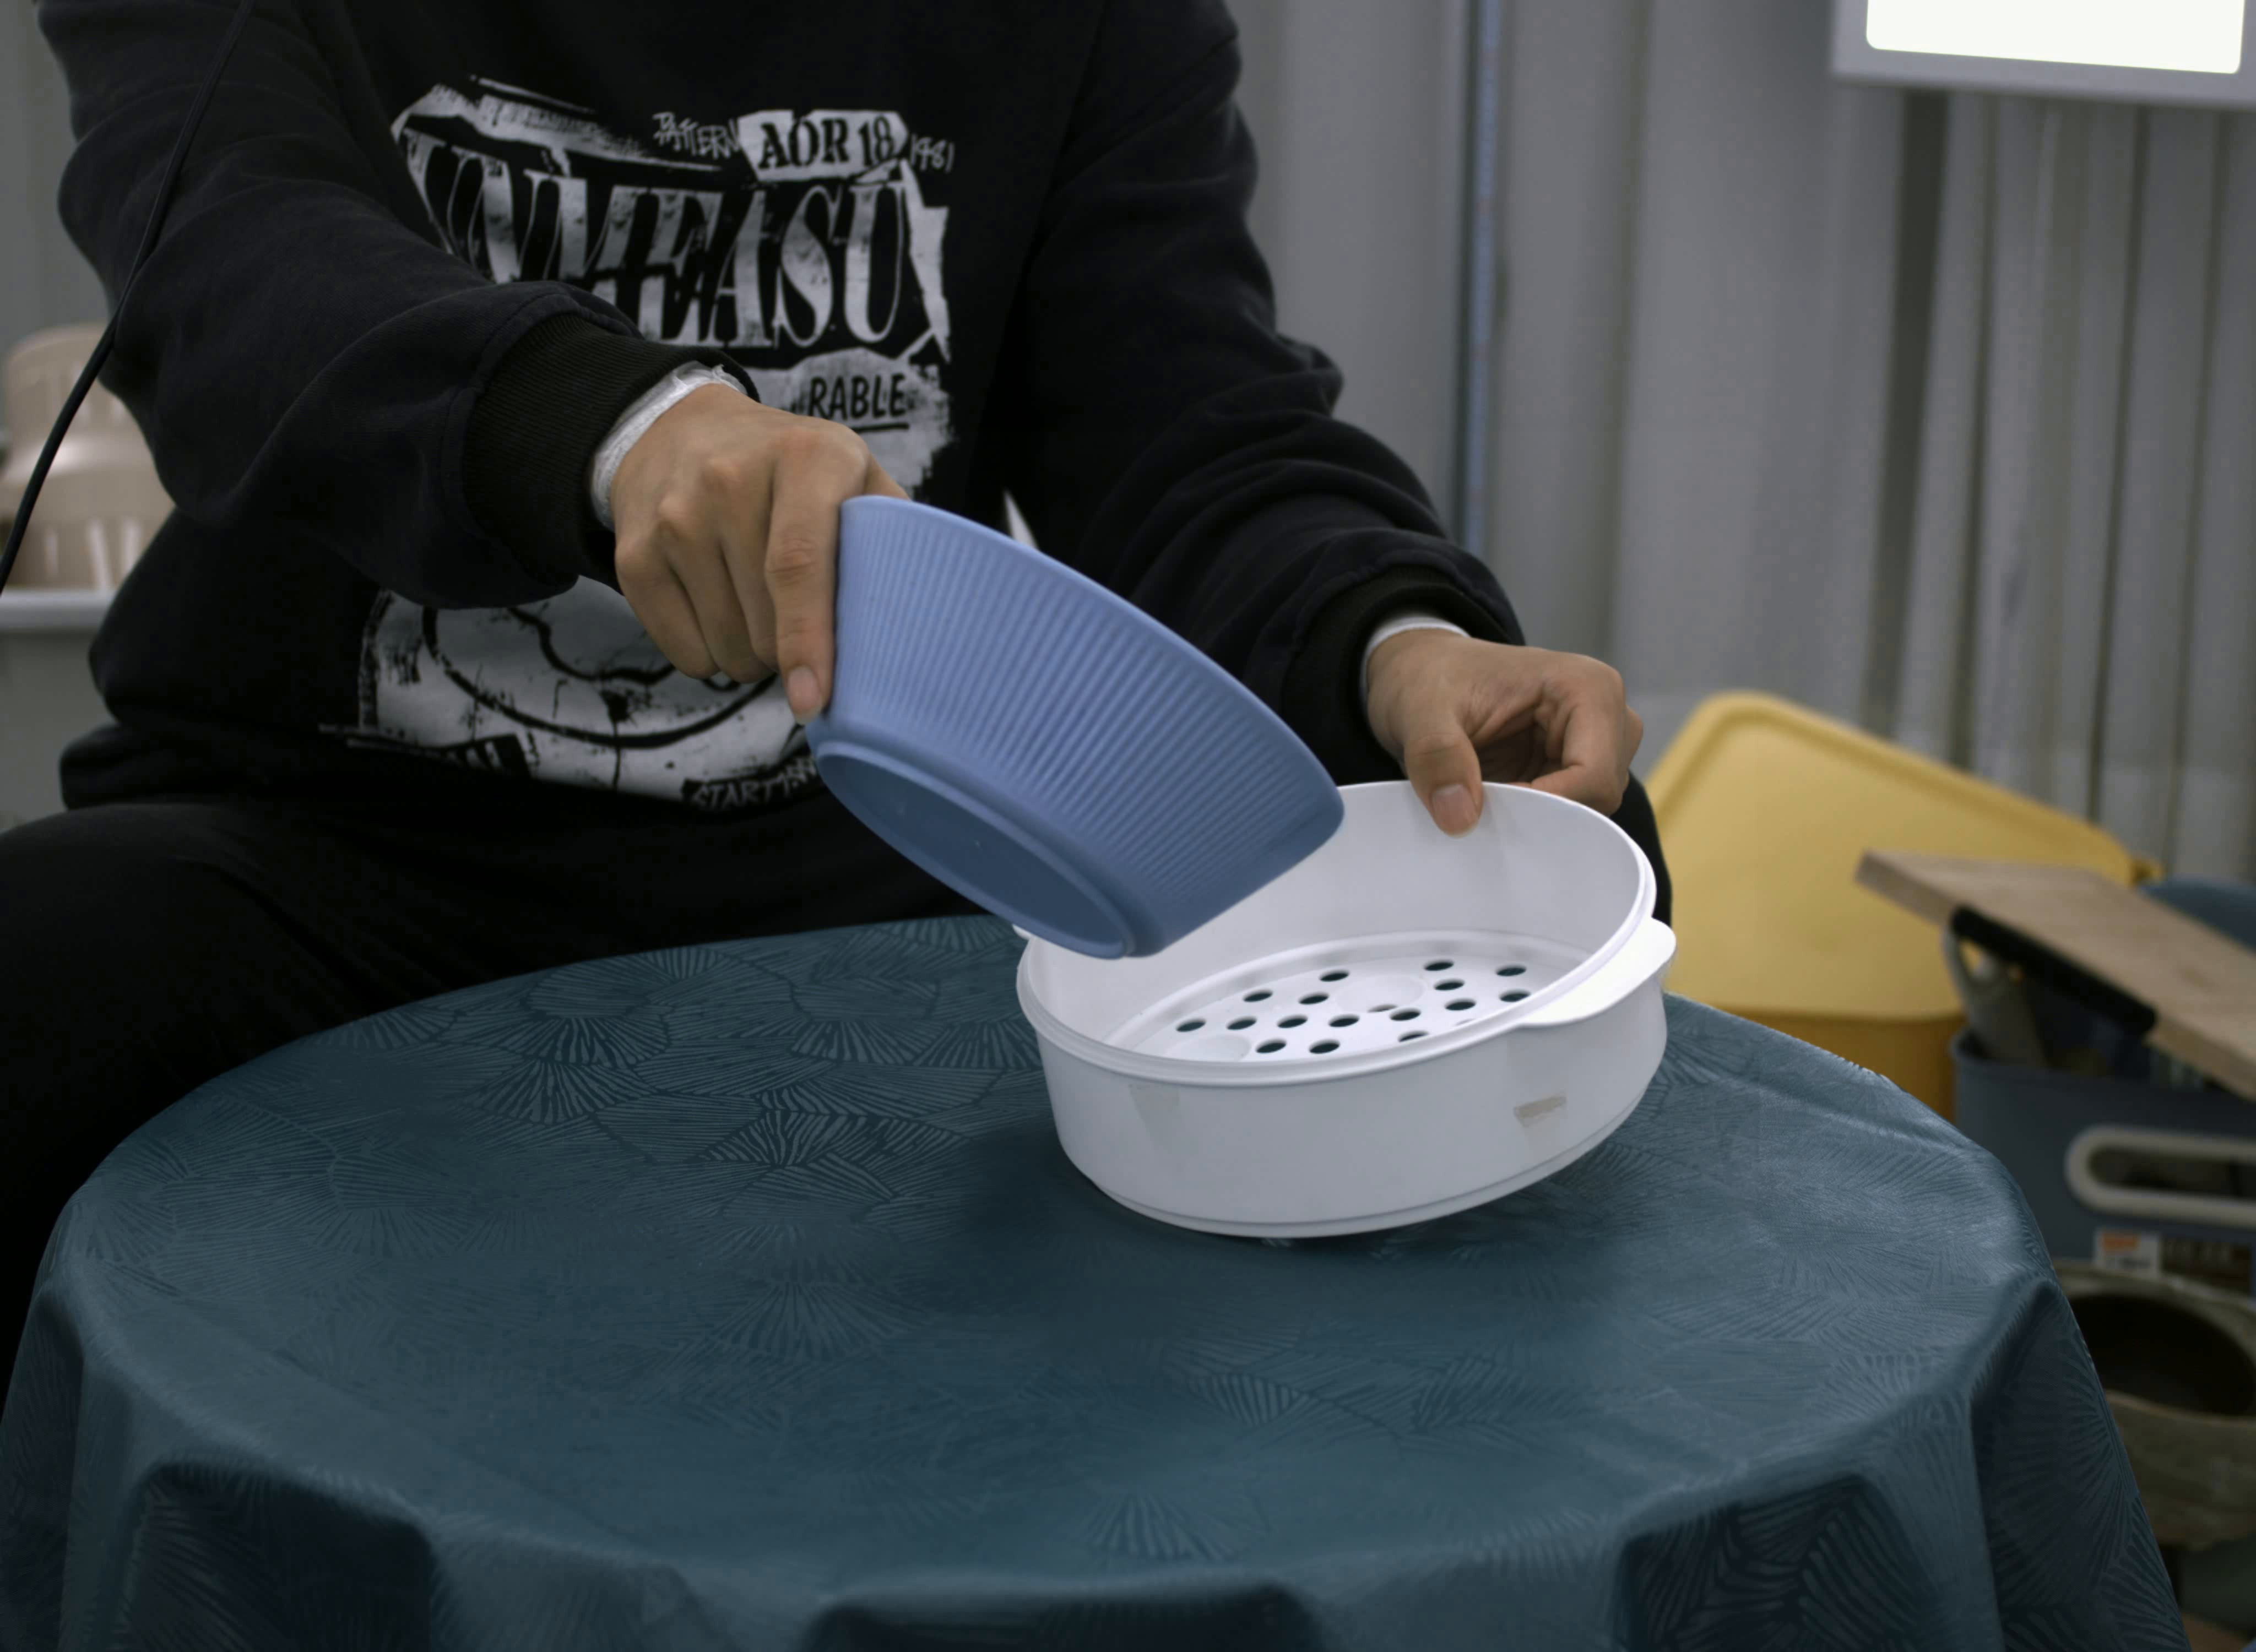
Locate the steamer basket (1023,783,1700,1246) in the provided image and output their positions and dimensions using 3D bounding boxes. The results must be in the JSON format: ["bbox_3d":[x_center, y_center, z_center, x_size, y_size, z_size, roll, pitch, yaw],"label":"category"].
[{"bbox_3d":[0.073,0.058,1.640,0.227,0.070,0.202,11,31,36],"label":"steamer basket"}]

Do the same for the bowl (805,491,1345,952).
[{"bbox_3d":[-0.028,-0.021,1.533,0.175,0.070,0.177,30,-13,8],"label":"bowl"}]
